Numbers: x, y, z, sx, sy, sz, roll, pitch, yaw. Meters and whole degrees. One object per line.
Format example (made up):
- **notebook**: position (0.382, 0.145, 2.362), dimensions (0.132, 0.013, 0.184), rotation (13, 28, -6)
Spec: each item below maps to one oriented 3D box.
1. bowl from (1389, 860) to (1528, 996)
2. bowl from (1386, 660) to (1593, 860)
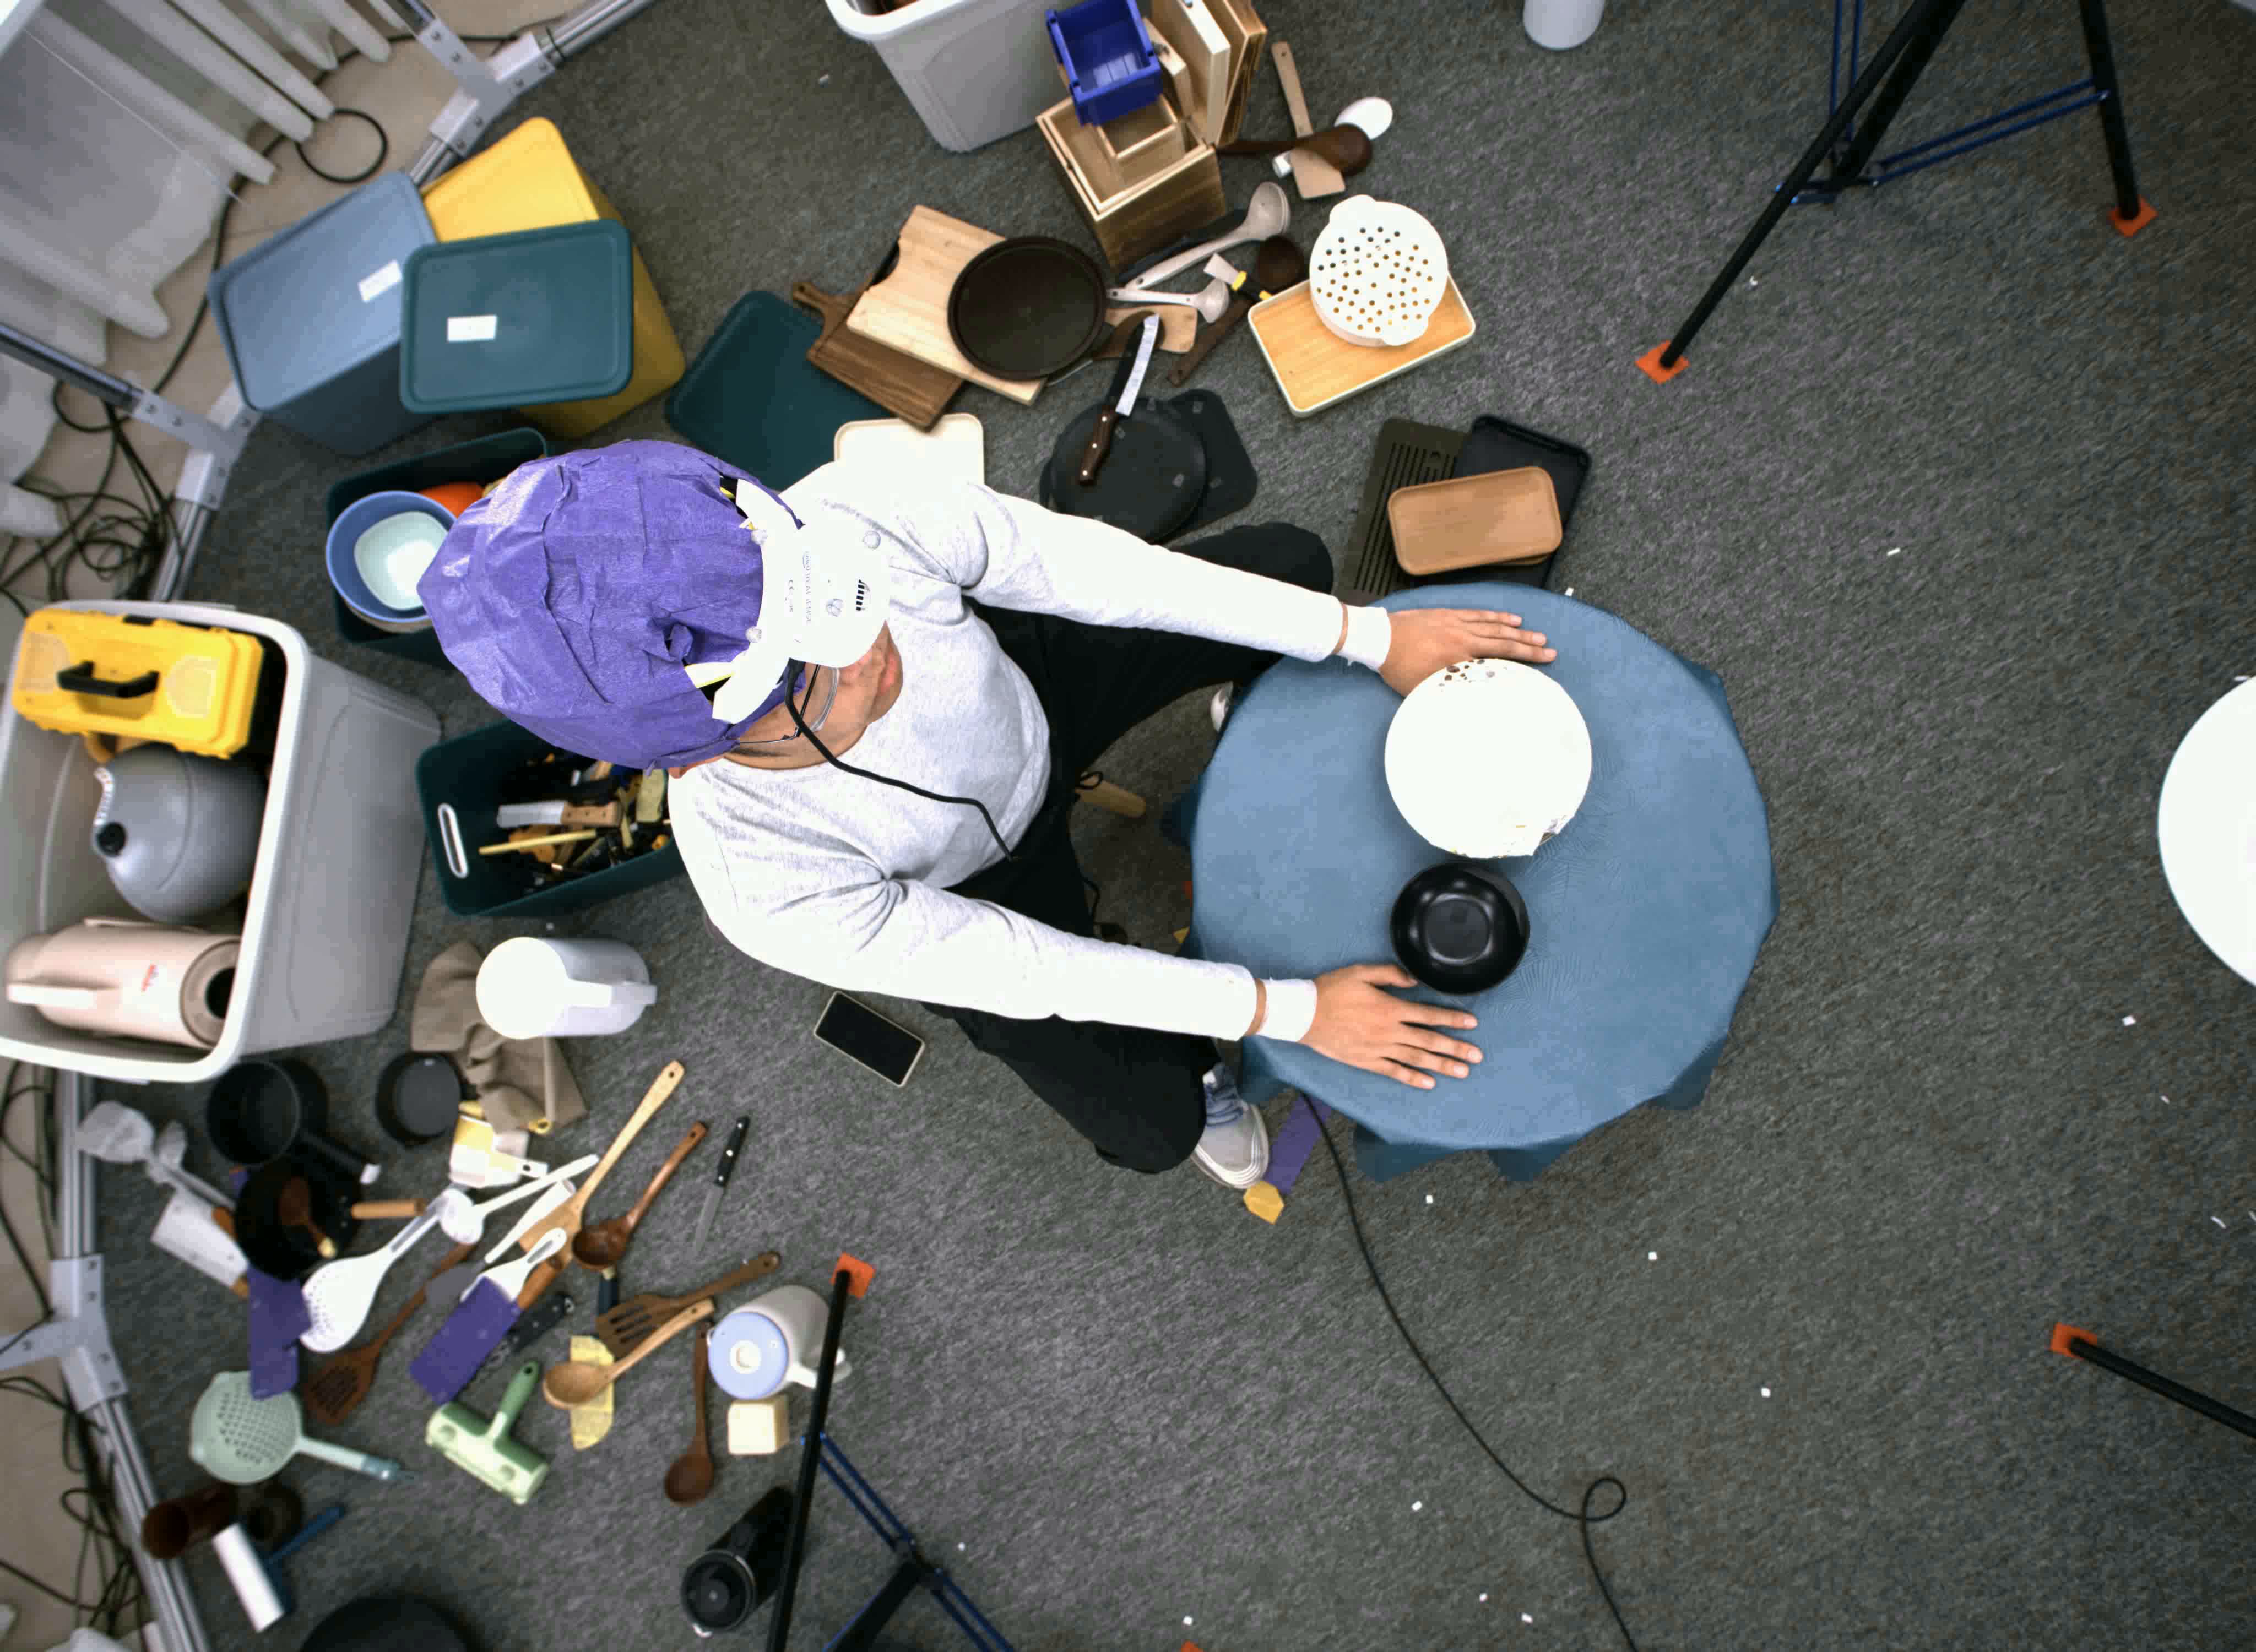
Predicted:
- **bowl**: position (0.340, 0.104, 1.423), dimensions (0.141, 0.050, 0.139), rotation (-2, 84, 13)
- **bowl**: position (0.368, -0.065, 1.409), dimensions (0.205, 0.078, 0.203), rotation (-1, 86, 11)
